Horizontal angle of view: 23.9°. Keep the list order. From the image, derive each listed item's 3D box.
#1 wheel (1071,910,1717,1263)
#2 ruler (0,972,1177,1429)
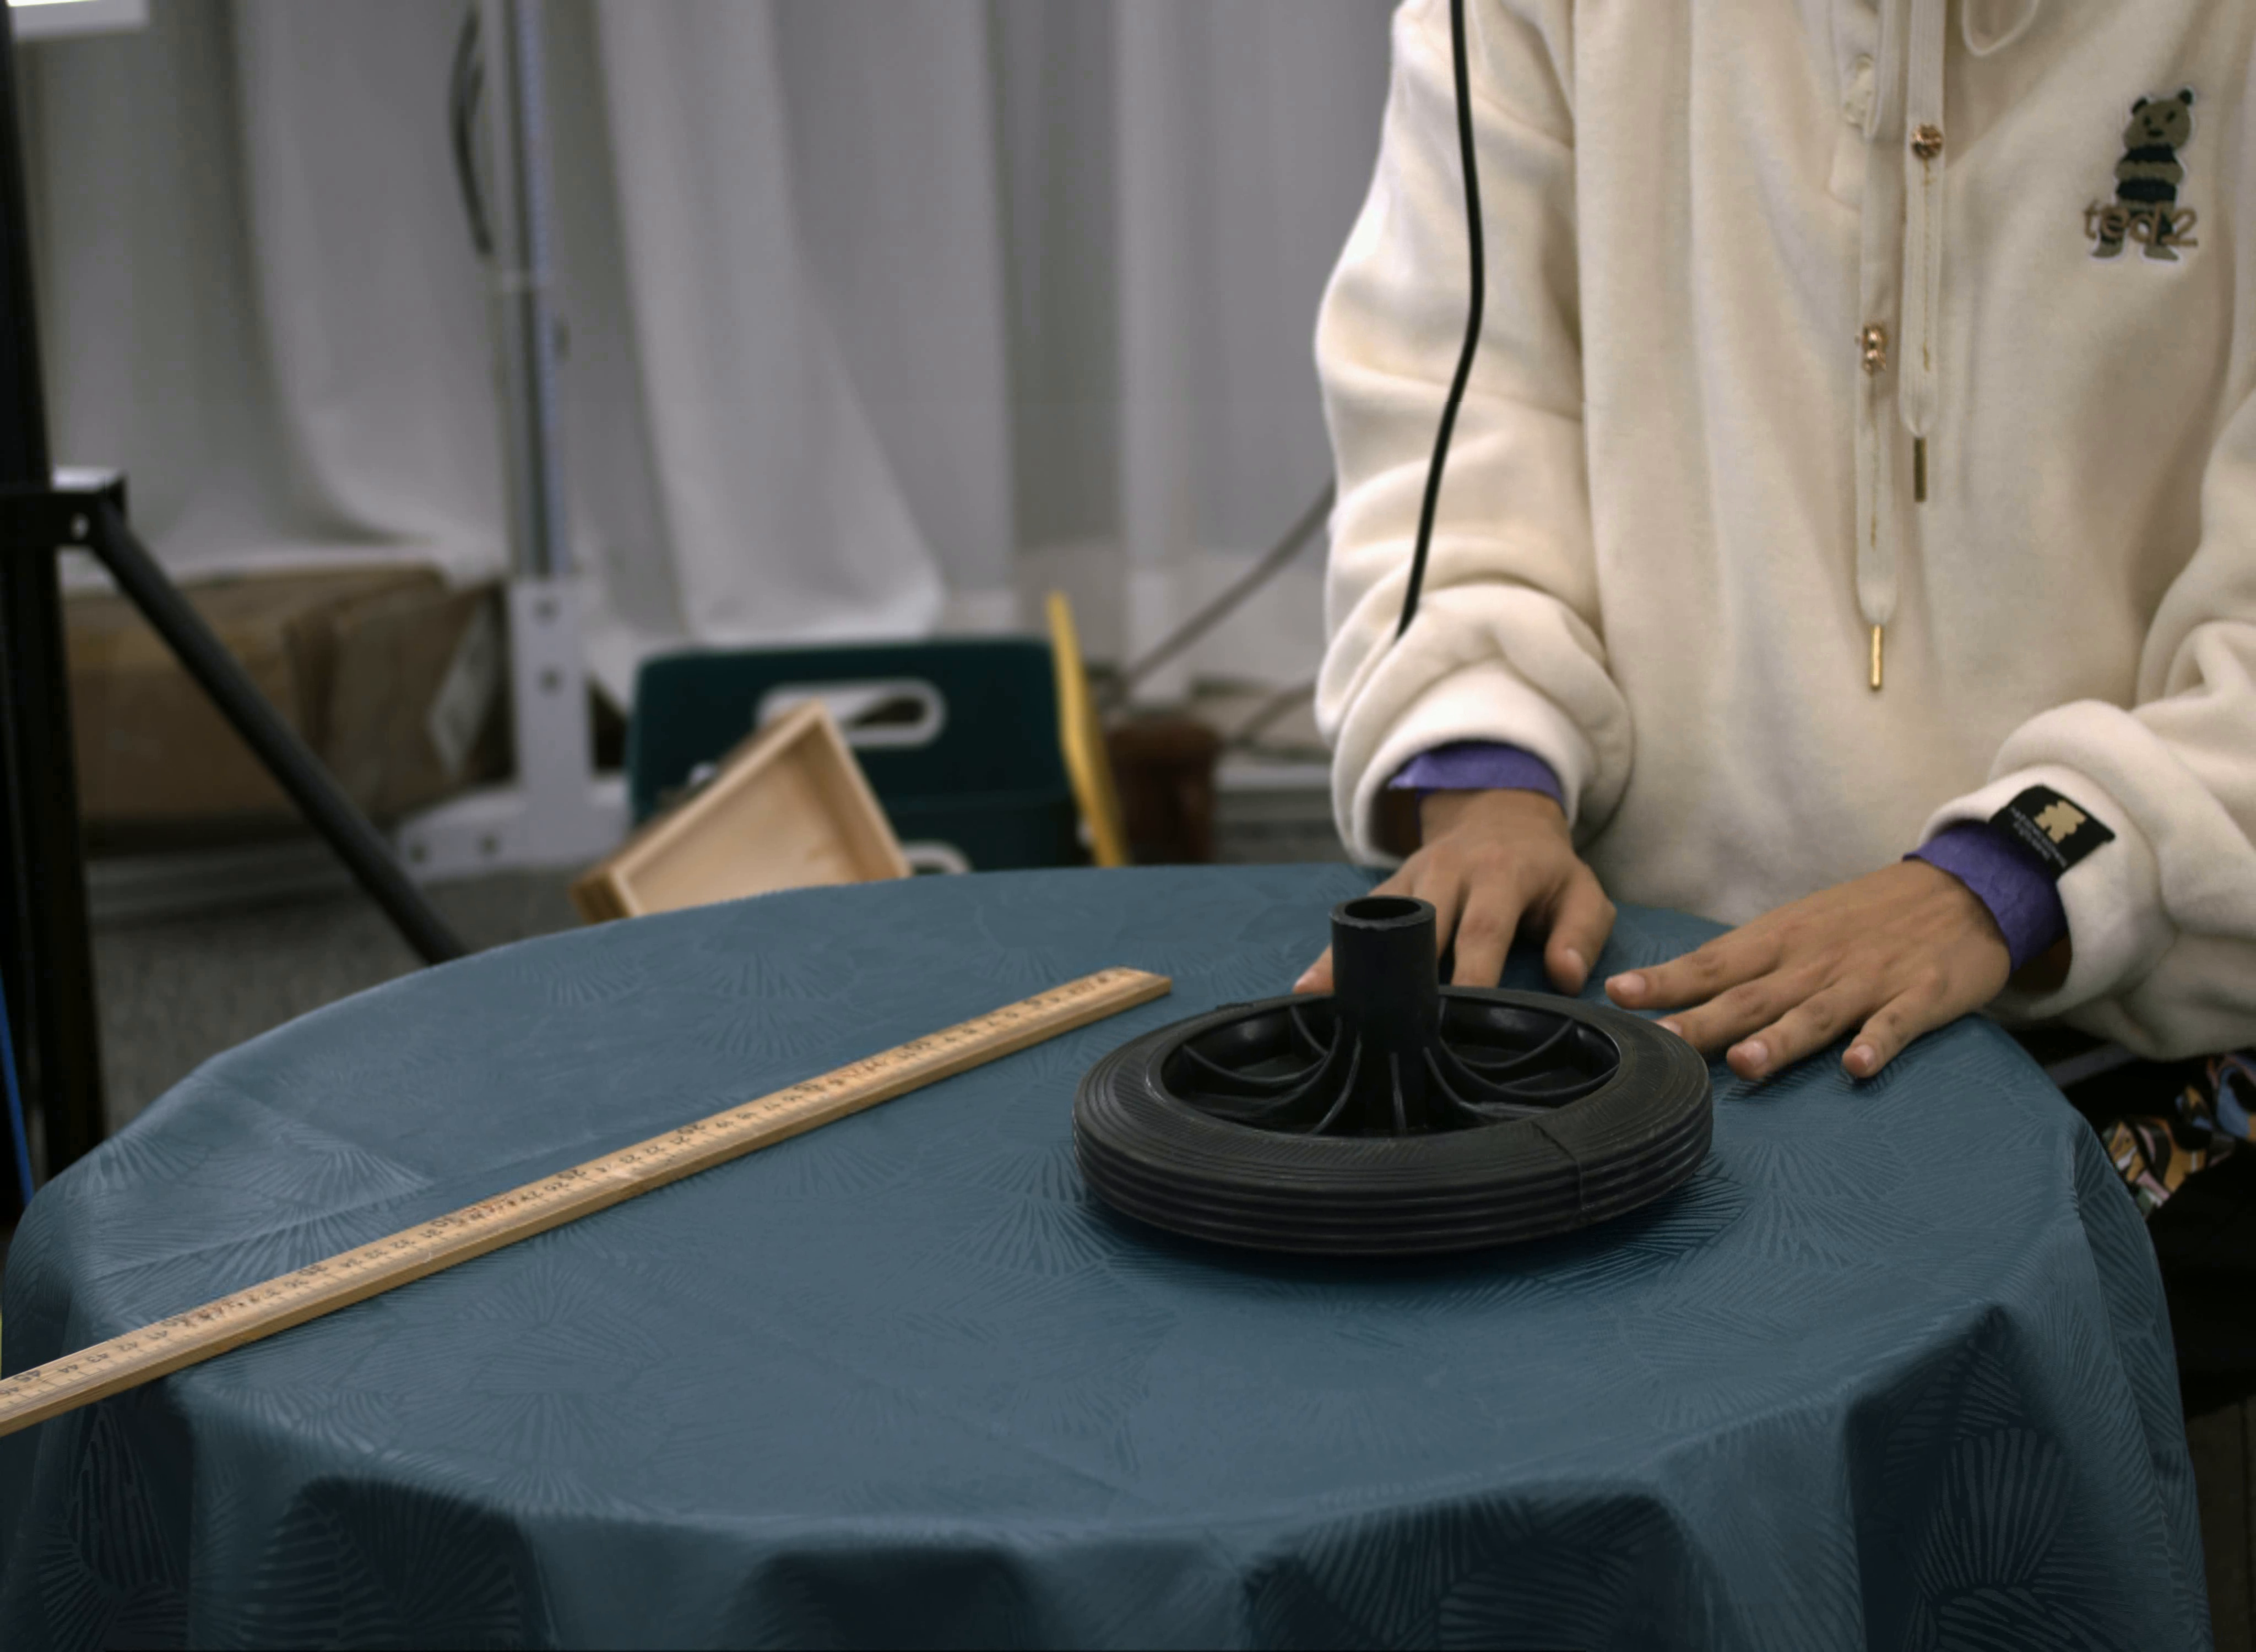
[{"bbox_3d":[0.077,0.067,1.550,0.190,0.079,0.187,-2,15,6],"label":"wheel"},{"bbox_3d":[-0.158,0.107,1.579,0.027,0.006,0.489,10,20,42],"label":"ruler"}]
